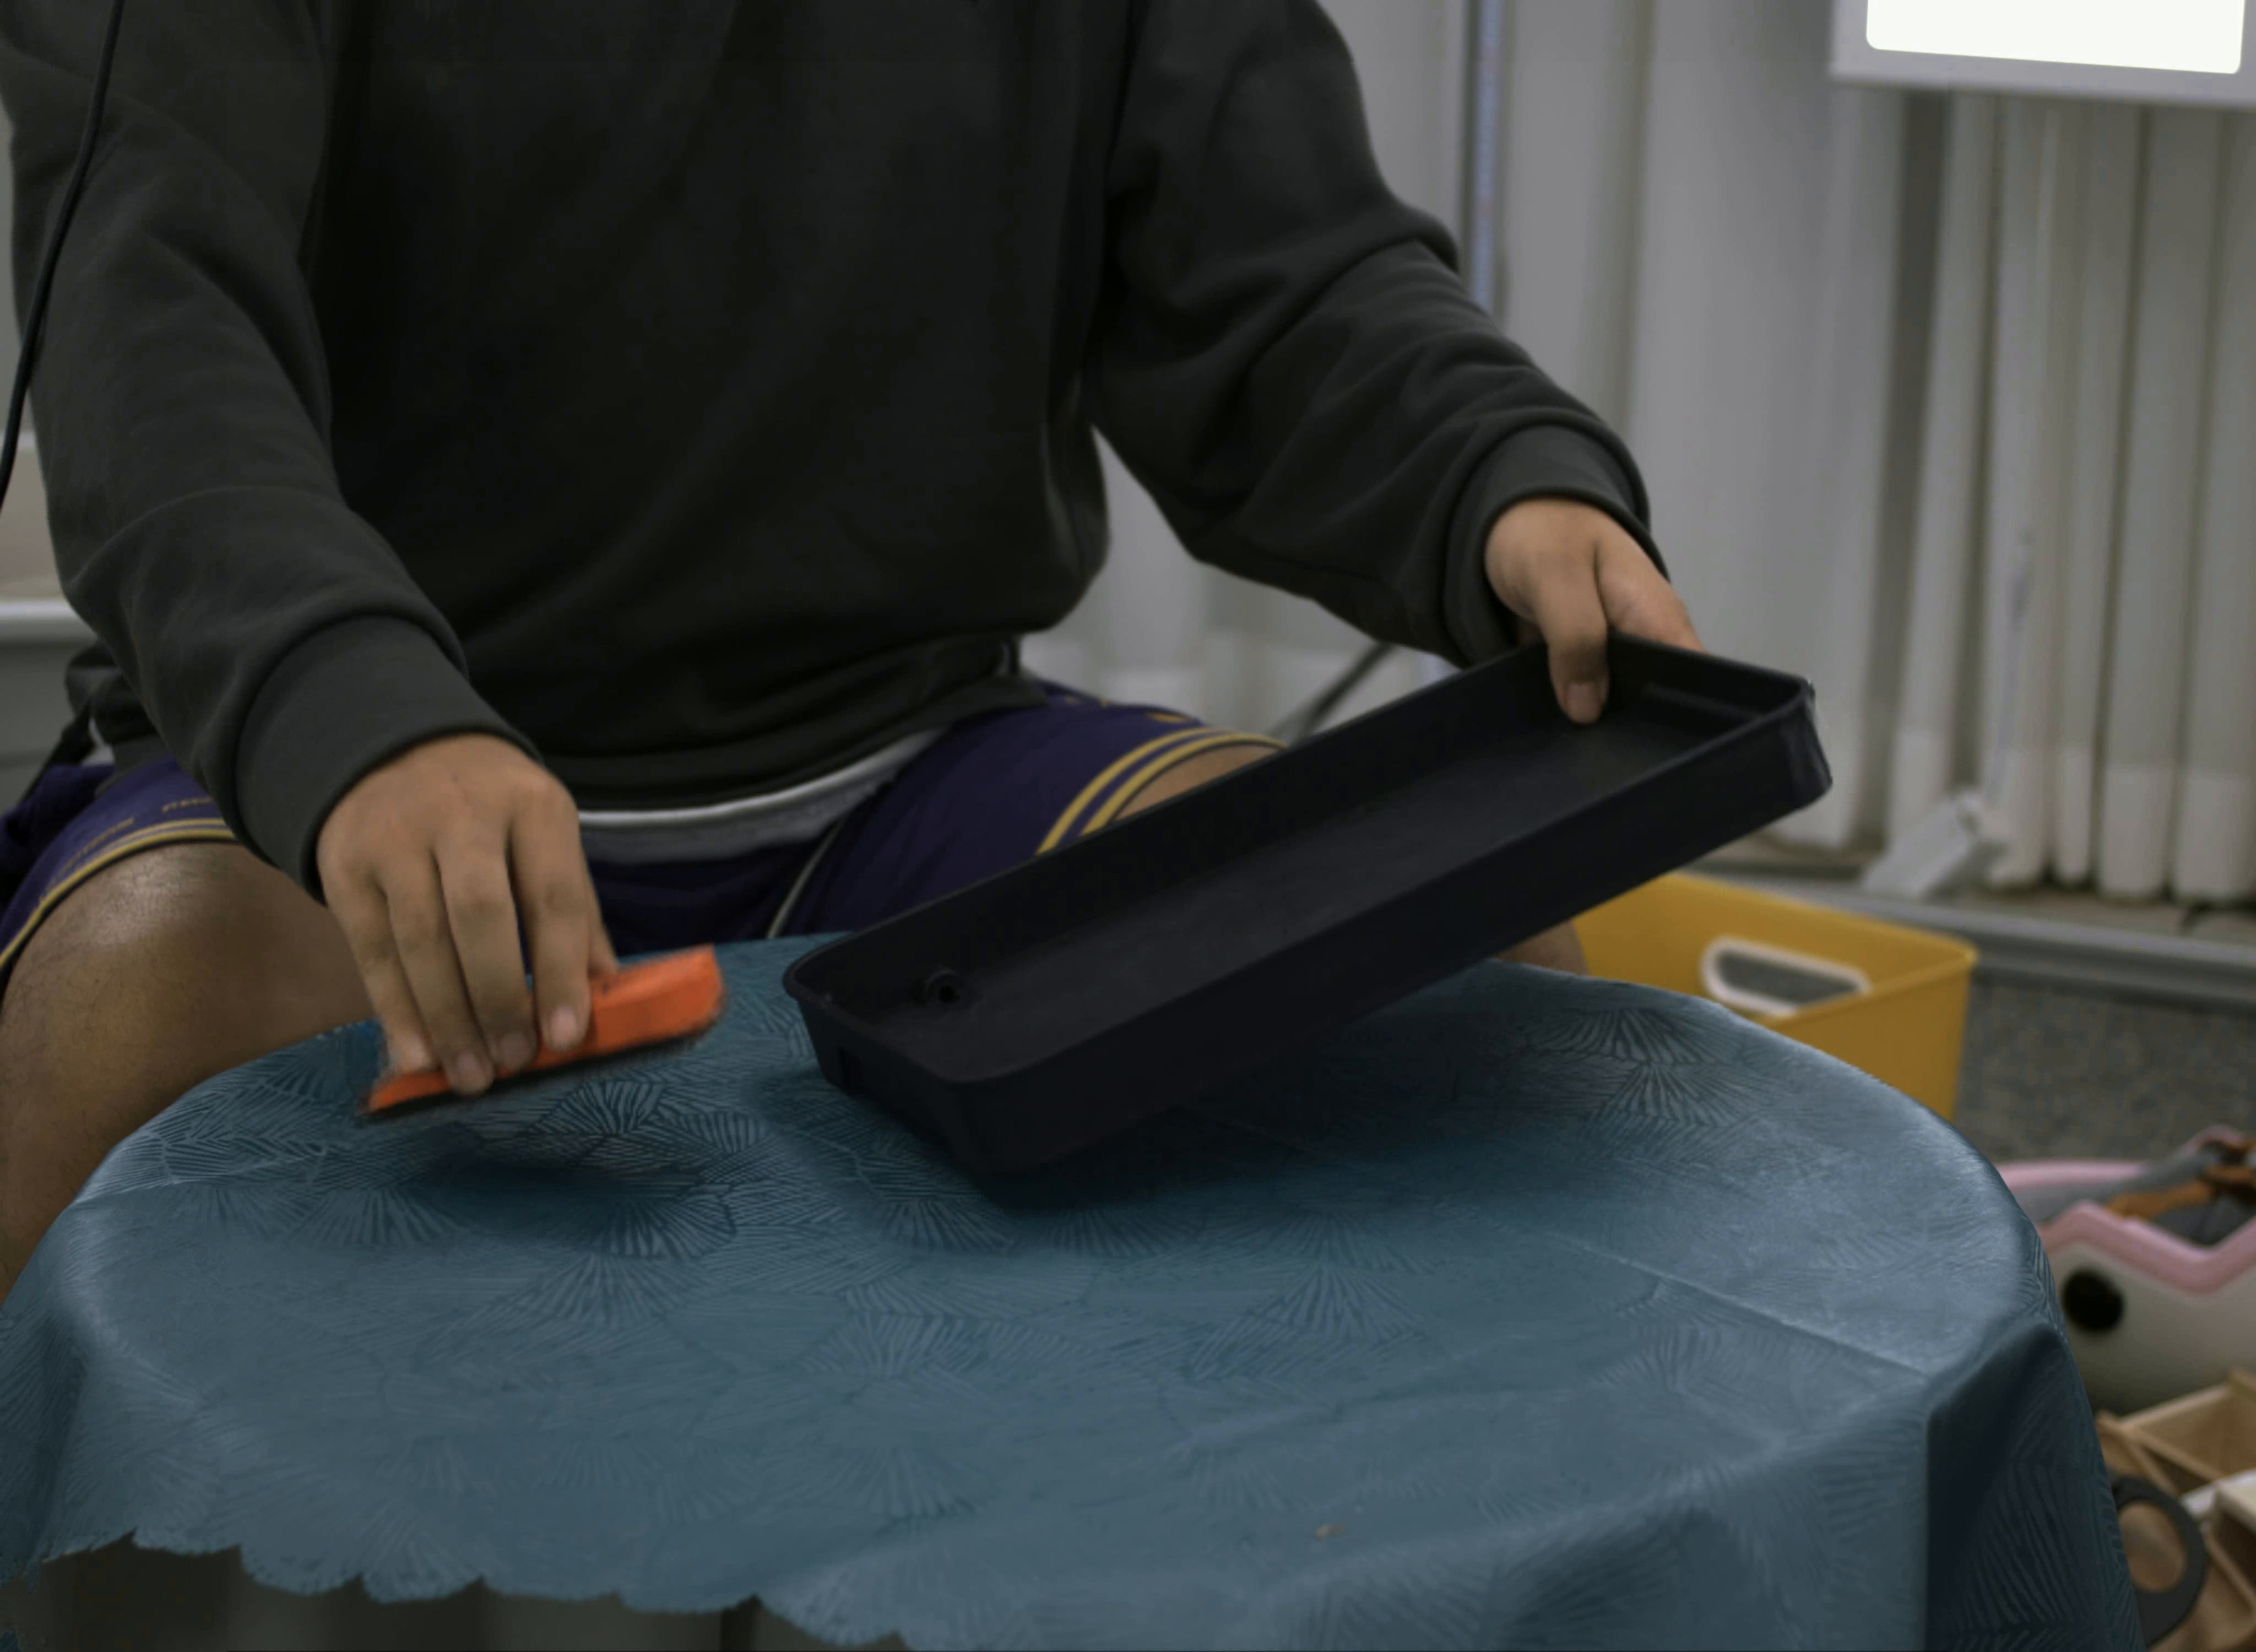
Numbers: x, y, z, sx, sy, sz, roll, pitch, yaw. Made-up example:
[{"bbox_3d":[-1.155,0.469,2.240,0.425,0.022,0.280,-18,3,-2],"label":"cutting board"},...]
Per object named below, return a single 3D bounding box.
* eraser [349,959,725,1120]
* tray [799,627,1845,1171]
[{"bbox_3d":[-0.182,0.066,1.624,0.107,0.023,0.059,-14,2,10],"label":"eraser"},{"bbox_3d":[0.063,0.018,1.708,0.318,0.037,0.182,-24,18,-20],"label":"tray"}]
